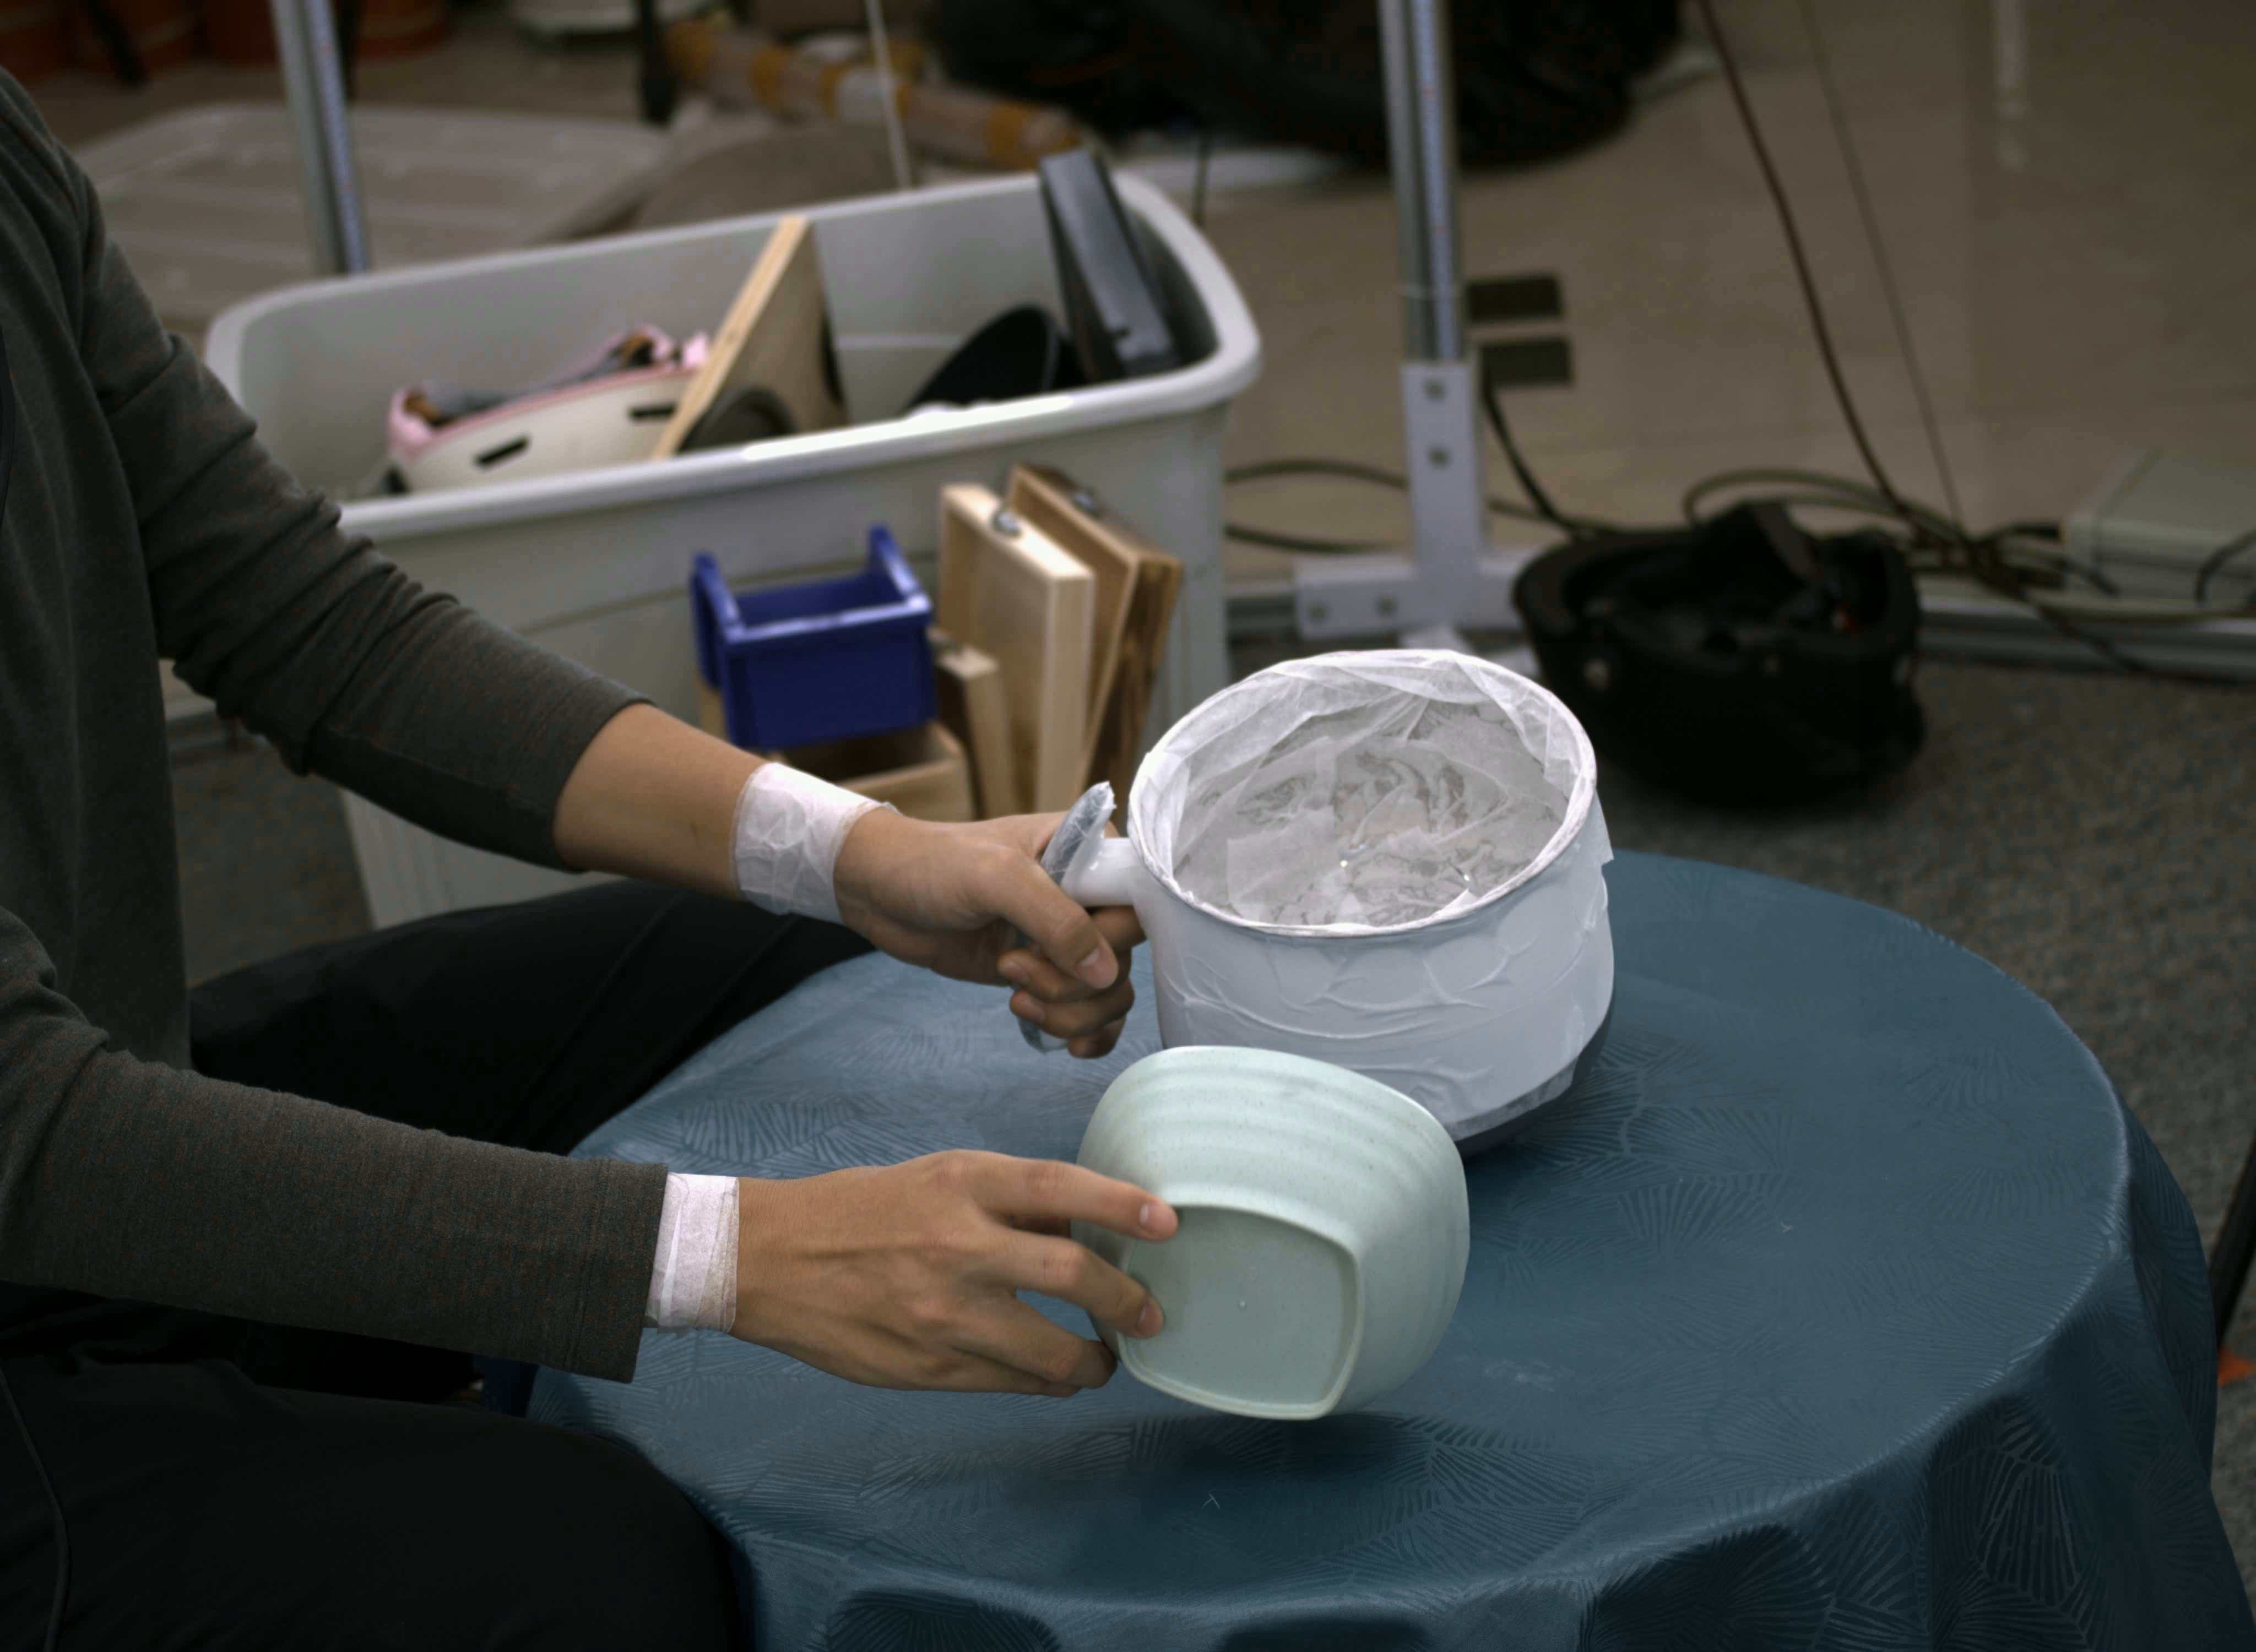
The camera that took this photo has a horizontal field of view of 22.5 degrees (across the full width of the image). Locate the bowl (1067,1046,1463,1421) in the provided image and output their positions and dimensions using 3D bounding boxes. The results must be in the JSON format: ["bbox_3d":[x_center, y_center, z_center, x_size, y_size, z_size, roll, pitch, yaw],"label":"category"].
[{"bbox_3d":[0.041,0.150,1.934,0.151,0.154,0.058,1,29,15],"label":"bowl"}]

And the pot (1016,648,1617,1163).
[{"bbox_3d":[0.069,0.037,2.165,0.233,0.139,0.175,-3,38,8],"label":"pot"}]
